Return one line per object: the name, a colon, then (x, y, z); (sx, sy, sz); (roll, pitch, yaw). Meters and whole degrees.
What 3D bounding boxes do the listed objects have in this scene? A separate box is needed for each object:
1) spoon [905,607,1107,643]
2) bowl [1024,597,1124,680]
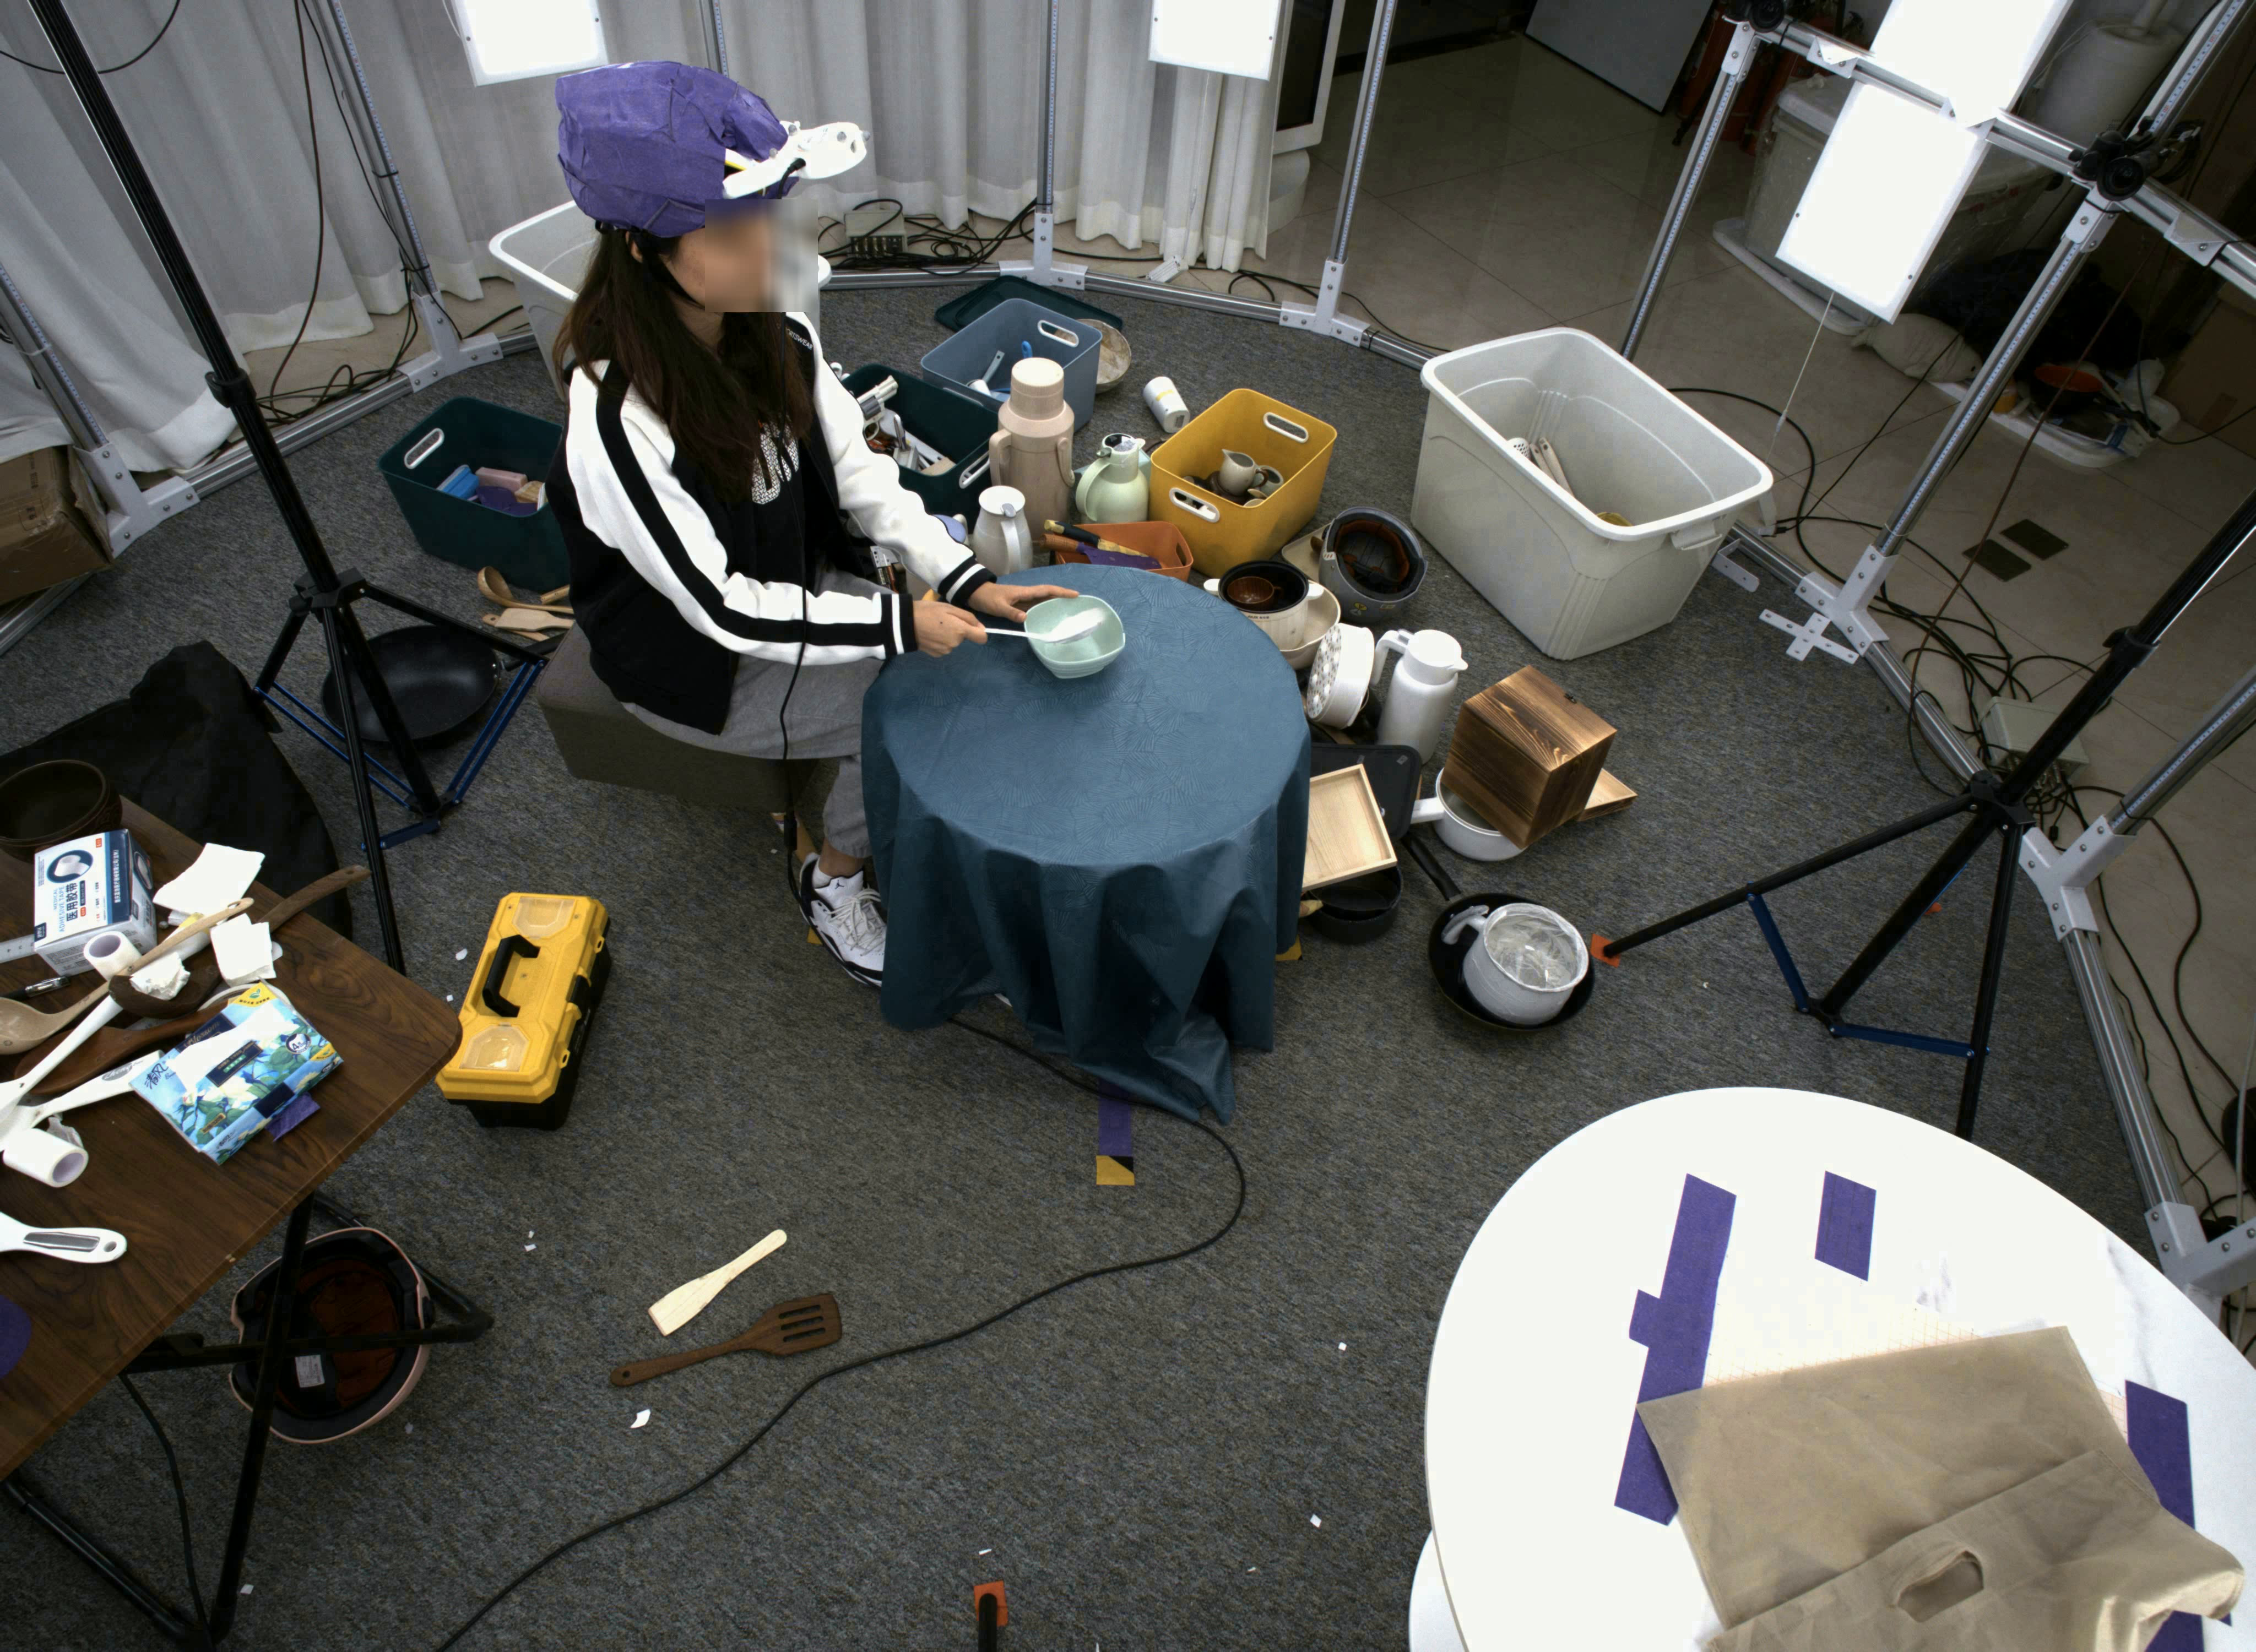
spoon: (-0.169, -0.297, 1.797); (0.277, 0.058, 0.102); (9, 18, 1)
bowl: (-0.079, -0.263, 1.860); (0.151, 0.057, 0.155); (2, 49, -2)
